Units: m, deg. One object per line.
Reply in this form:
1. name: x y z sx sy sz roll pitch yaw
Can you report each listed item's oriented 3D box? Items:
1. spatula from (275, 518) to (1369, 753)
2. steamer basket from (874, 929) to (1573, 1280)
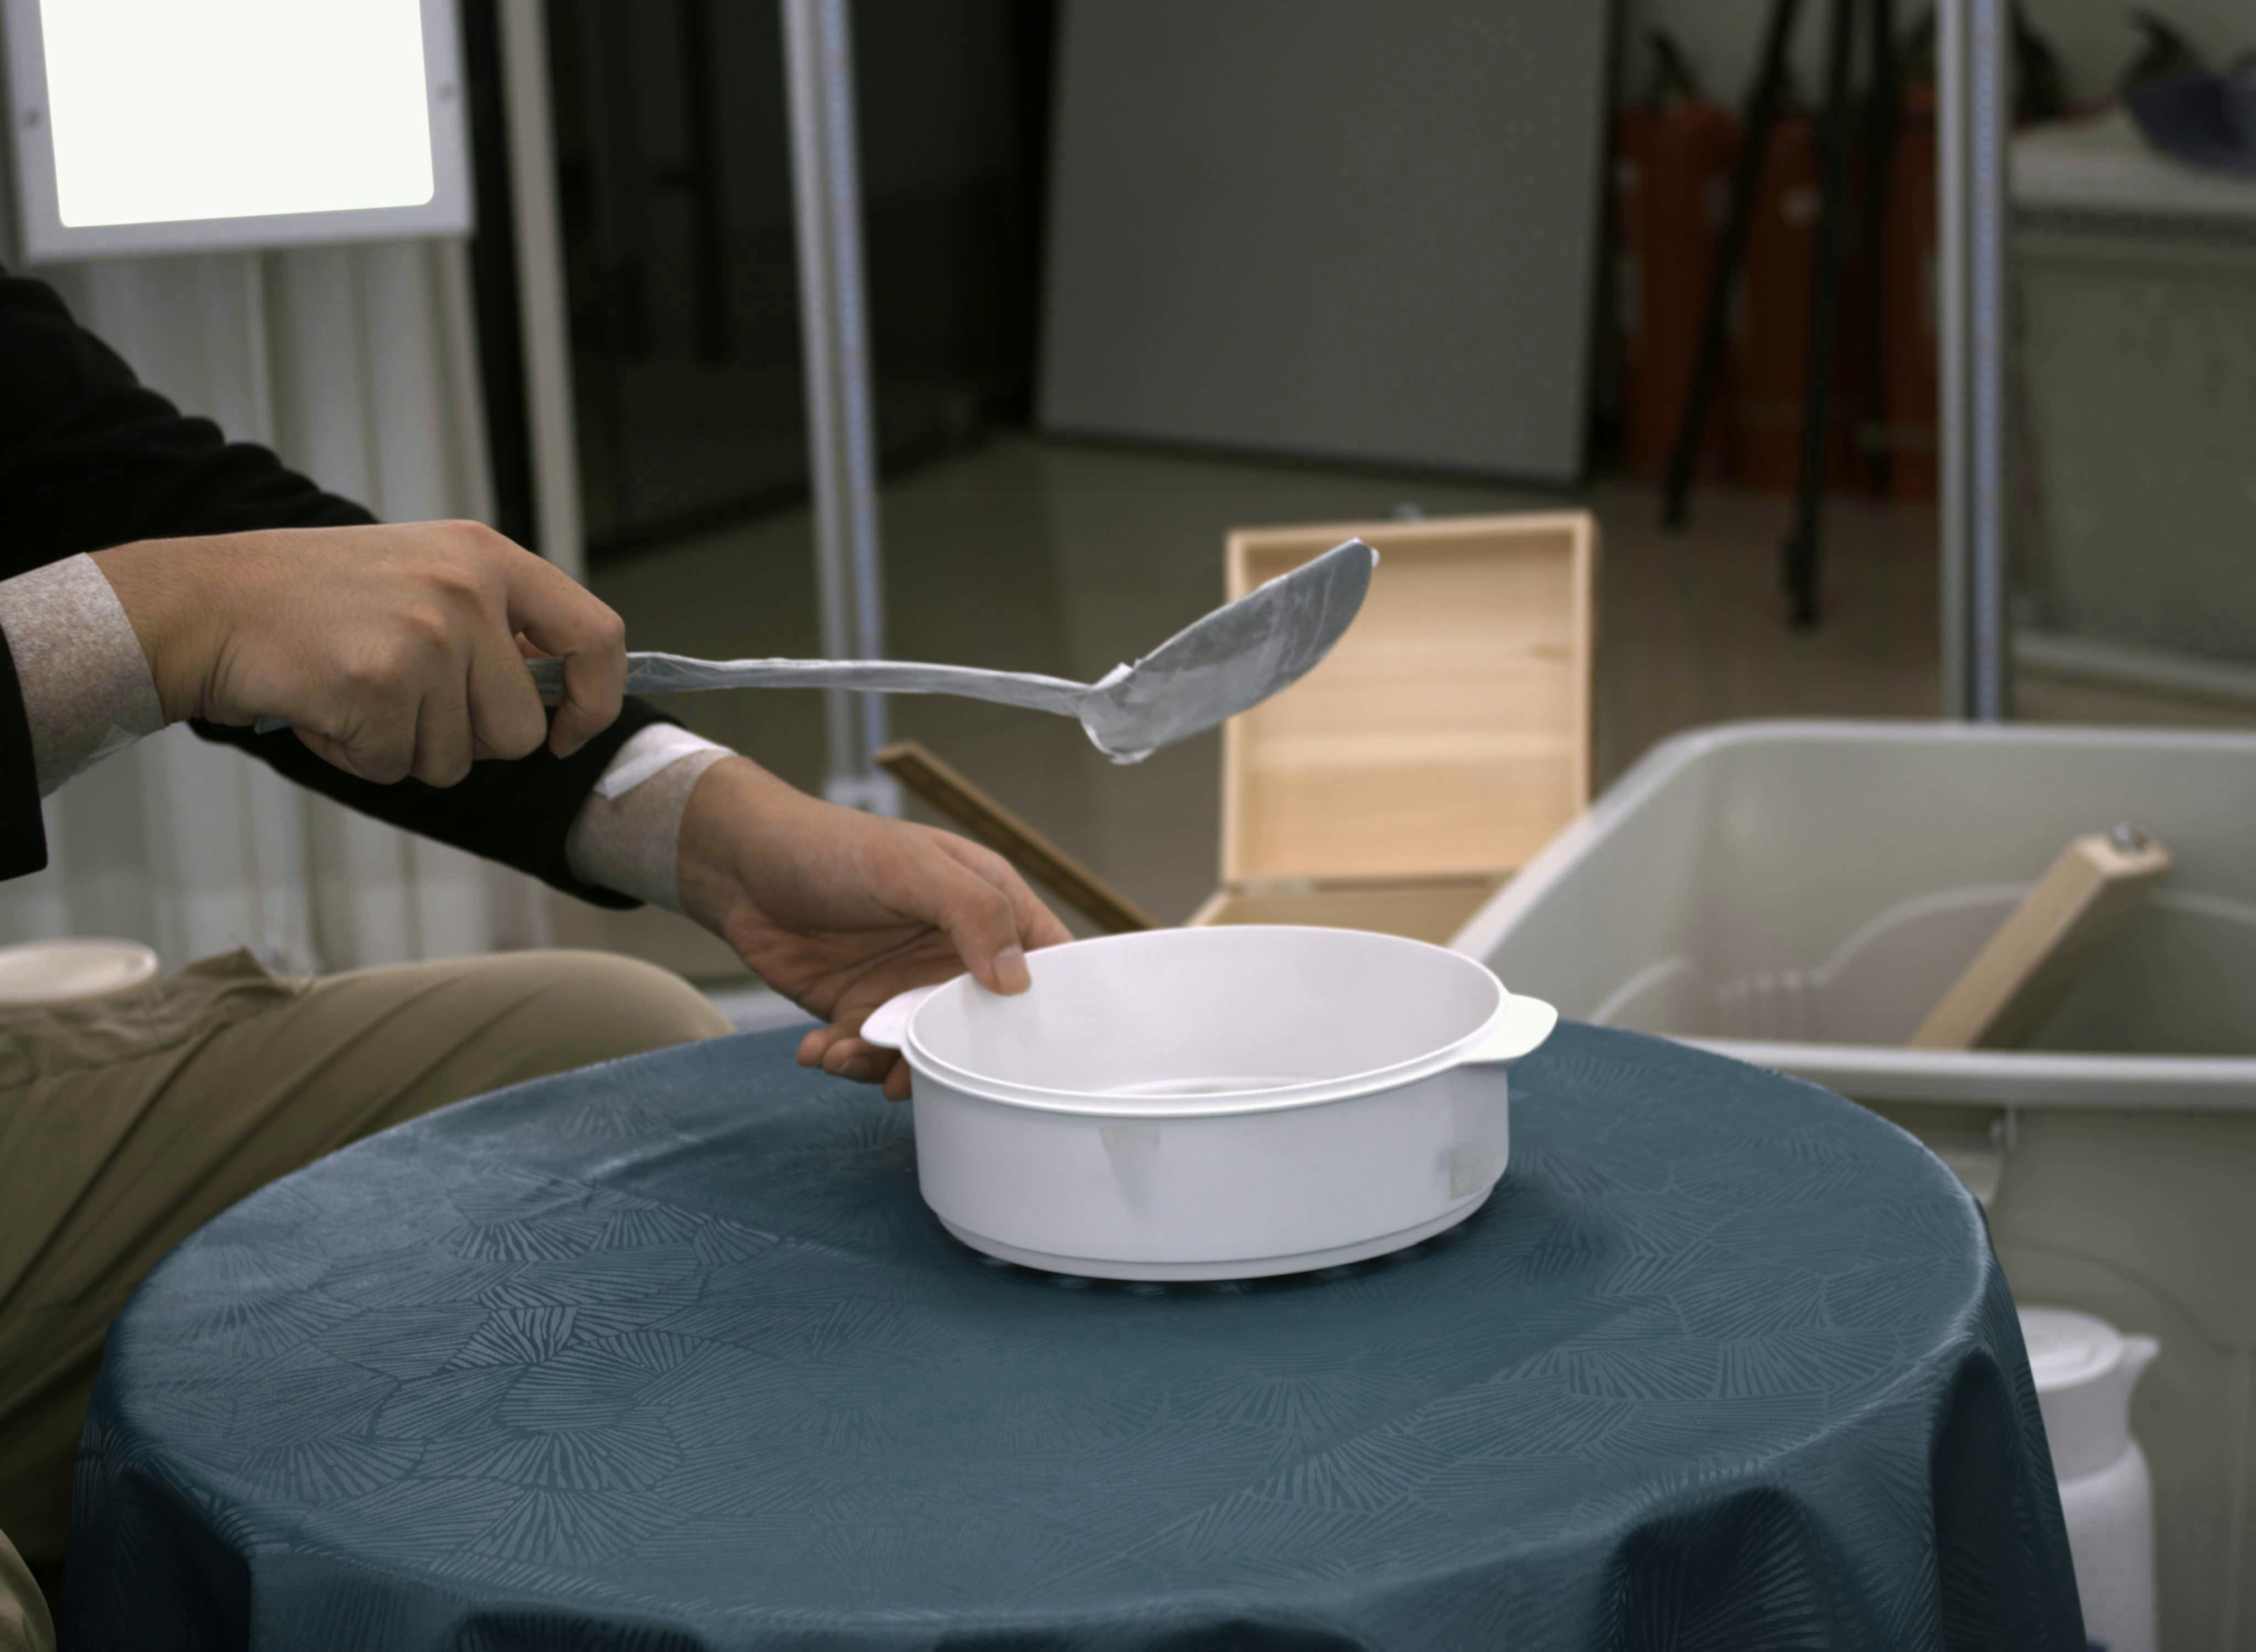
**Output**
1. spatula: -0.092 -0.052 1.709 0.357 0.045 0.099 -2 -29 -18
2. steamer basket: 0.032 0.089 1.742 0.230 0.070 0.200 -1 13 18
